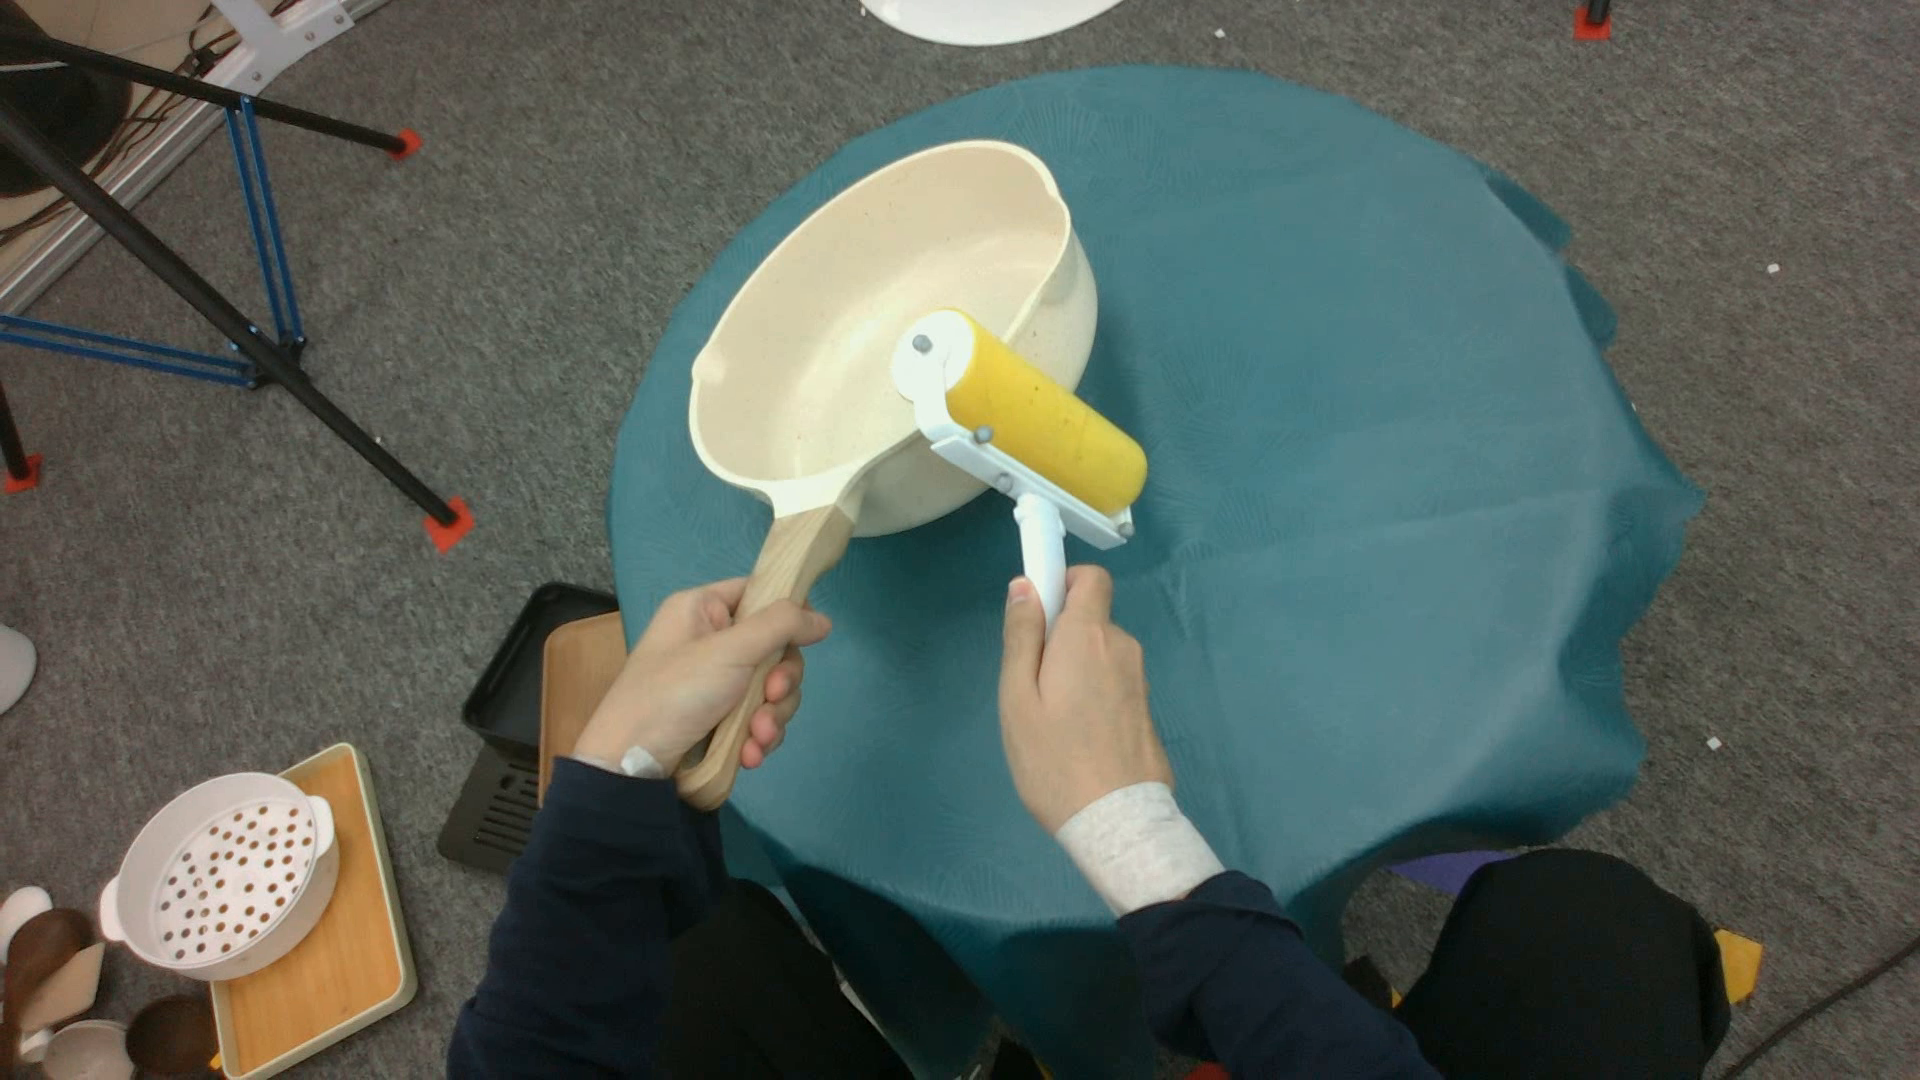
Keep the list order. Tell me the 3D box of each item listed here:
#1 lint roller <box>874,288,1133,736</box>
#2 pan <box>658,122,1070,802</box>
[{"bbox_3d":[0.040,-0.006,0.643,0.051,0.174,0.192,-29,59,26],"label":"lint roller"},{"bbox_3d":[-0.066,-0.048,0.736,0.262,0.102,0.437,-12,51,29],"label":"pan"}]
